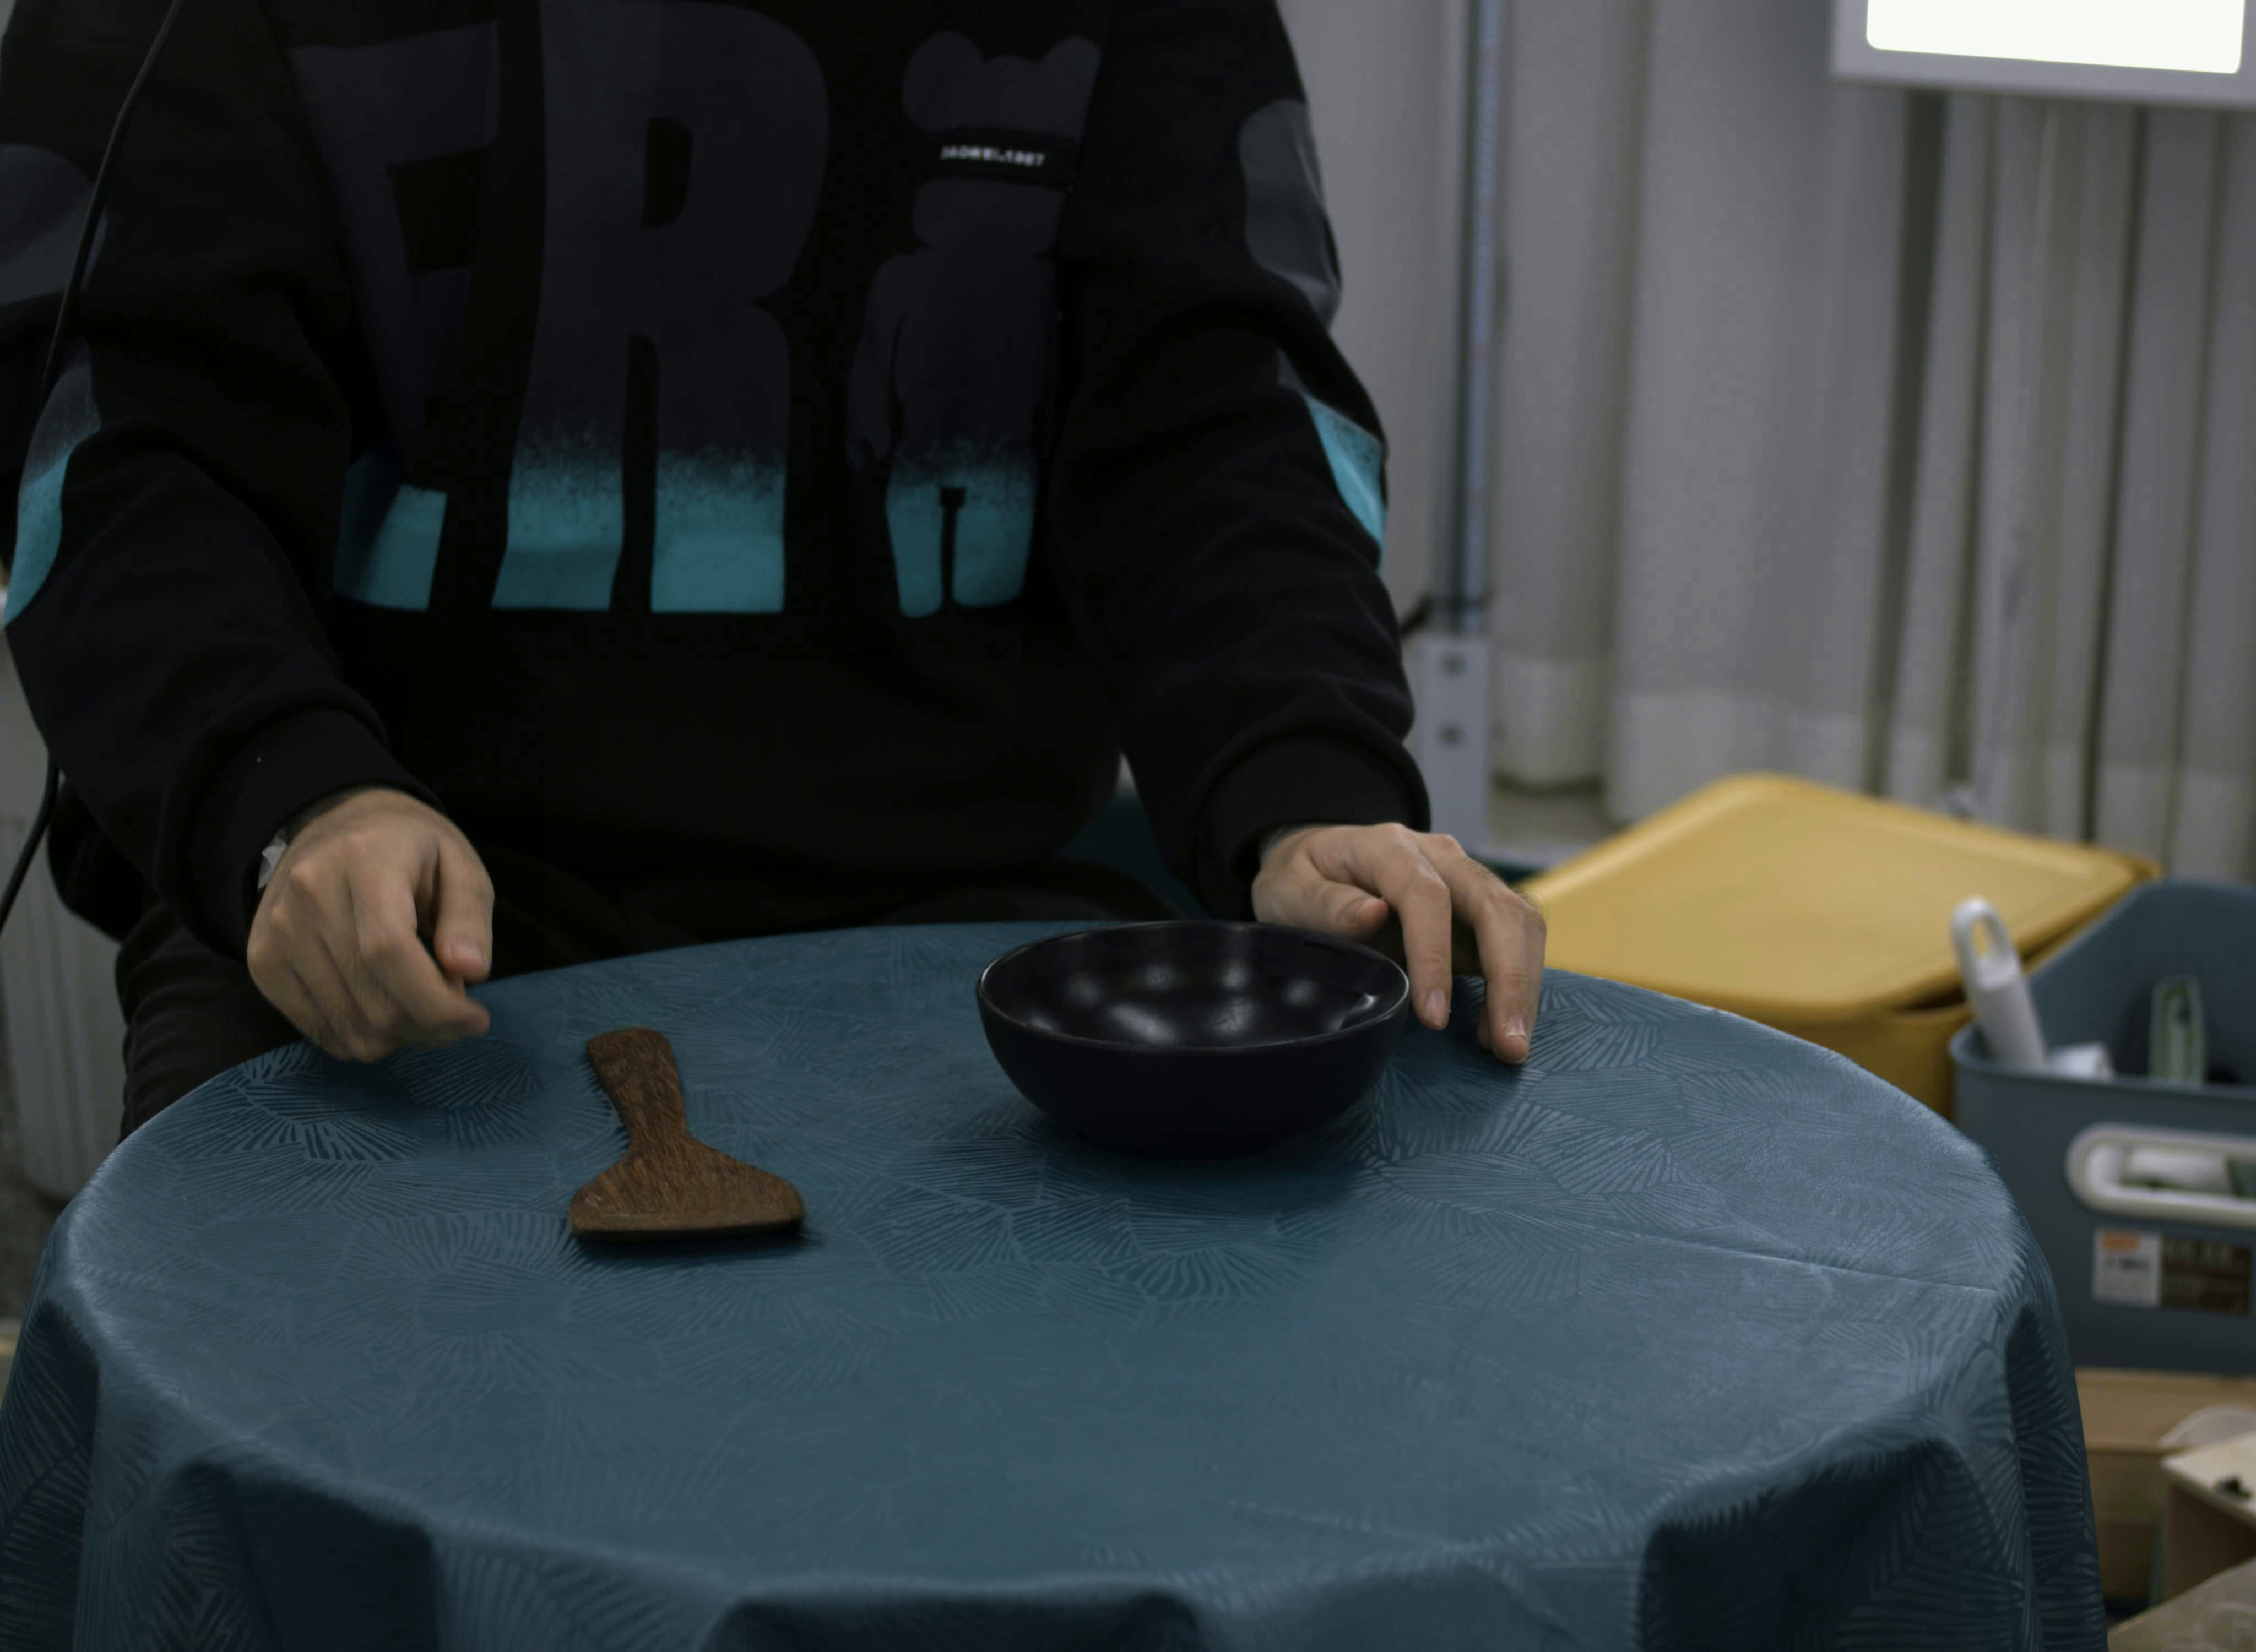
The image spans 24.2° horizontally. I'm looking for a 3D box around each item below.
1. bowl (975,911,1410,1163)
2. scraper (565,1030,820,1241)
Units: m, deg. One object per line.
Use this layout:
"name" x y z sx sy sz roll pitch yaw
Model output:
"bowl" 0.021 0.072 1.679 0.139 0.050 0.139 -1 18 1
"scraper" -0.147 0.097 1.661 0.076 0.011 0.209 -1 15 -11
